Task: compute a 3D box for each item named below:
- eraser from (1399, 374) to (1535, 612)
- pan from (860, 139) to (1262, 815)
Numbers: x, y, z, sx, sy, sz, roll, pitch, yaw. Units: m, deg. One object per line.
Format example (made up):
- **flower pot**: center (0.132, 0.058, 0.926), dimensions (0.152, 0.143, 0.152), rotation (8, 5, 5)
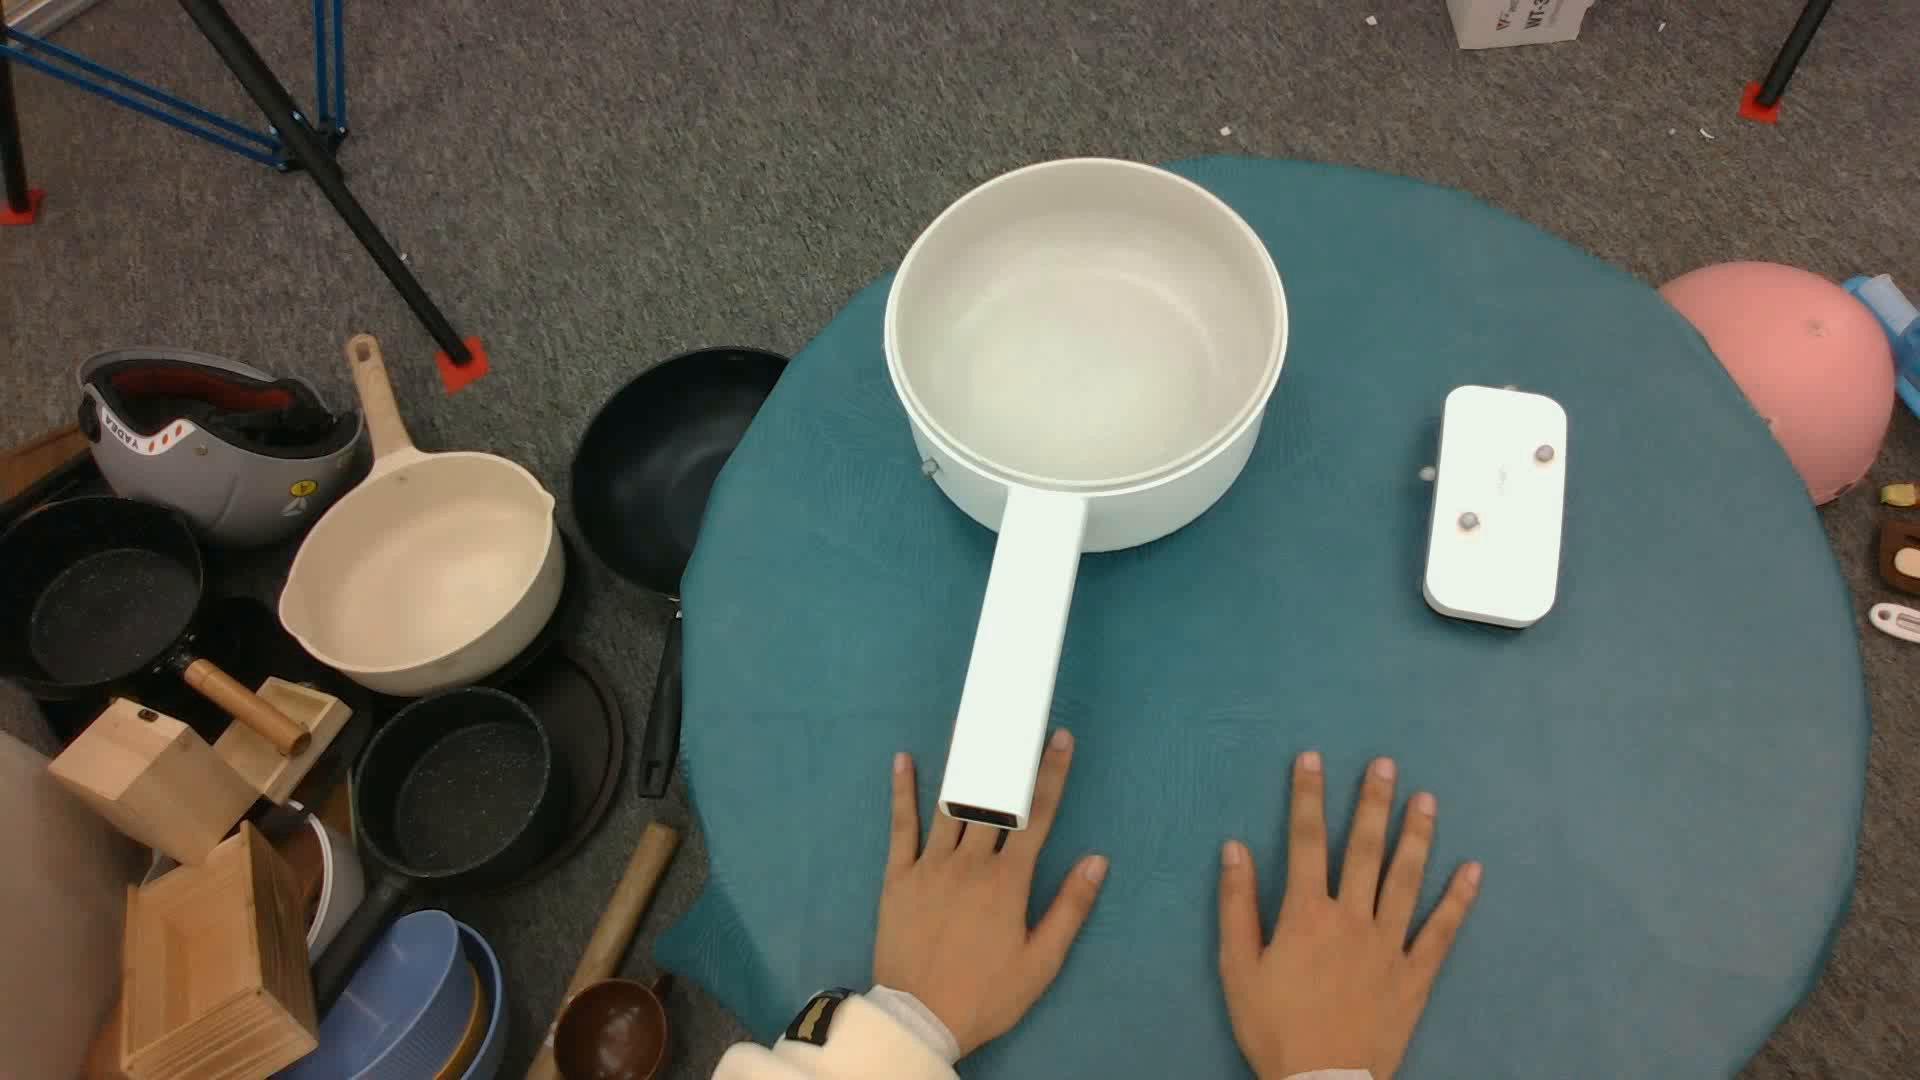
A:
- **eraser**: center (0.263, -0.027, 0.718), dimensions (0.063, 0.034, 0.132), rotation (9, 65, 11)
- **pan**: center (0.039, -0.032, 0.699), dimensions (0.201, 0.102, 0.356), rotation (8, 68, 9)
